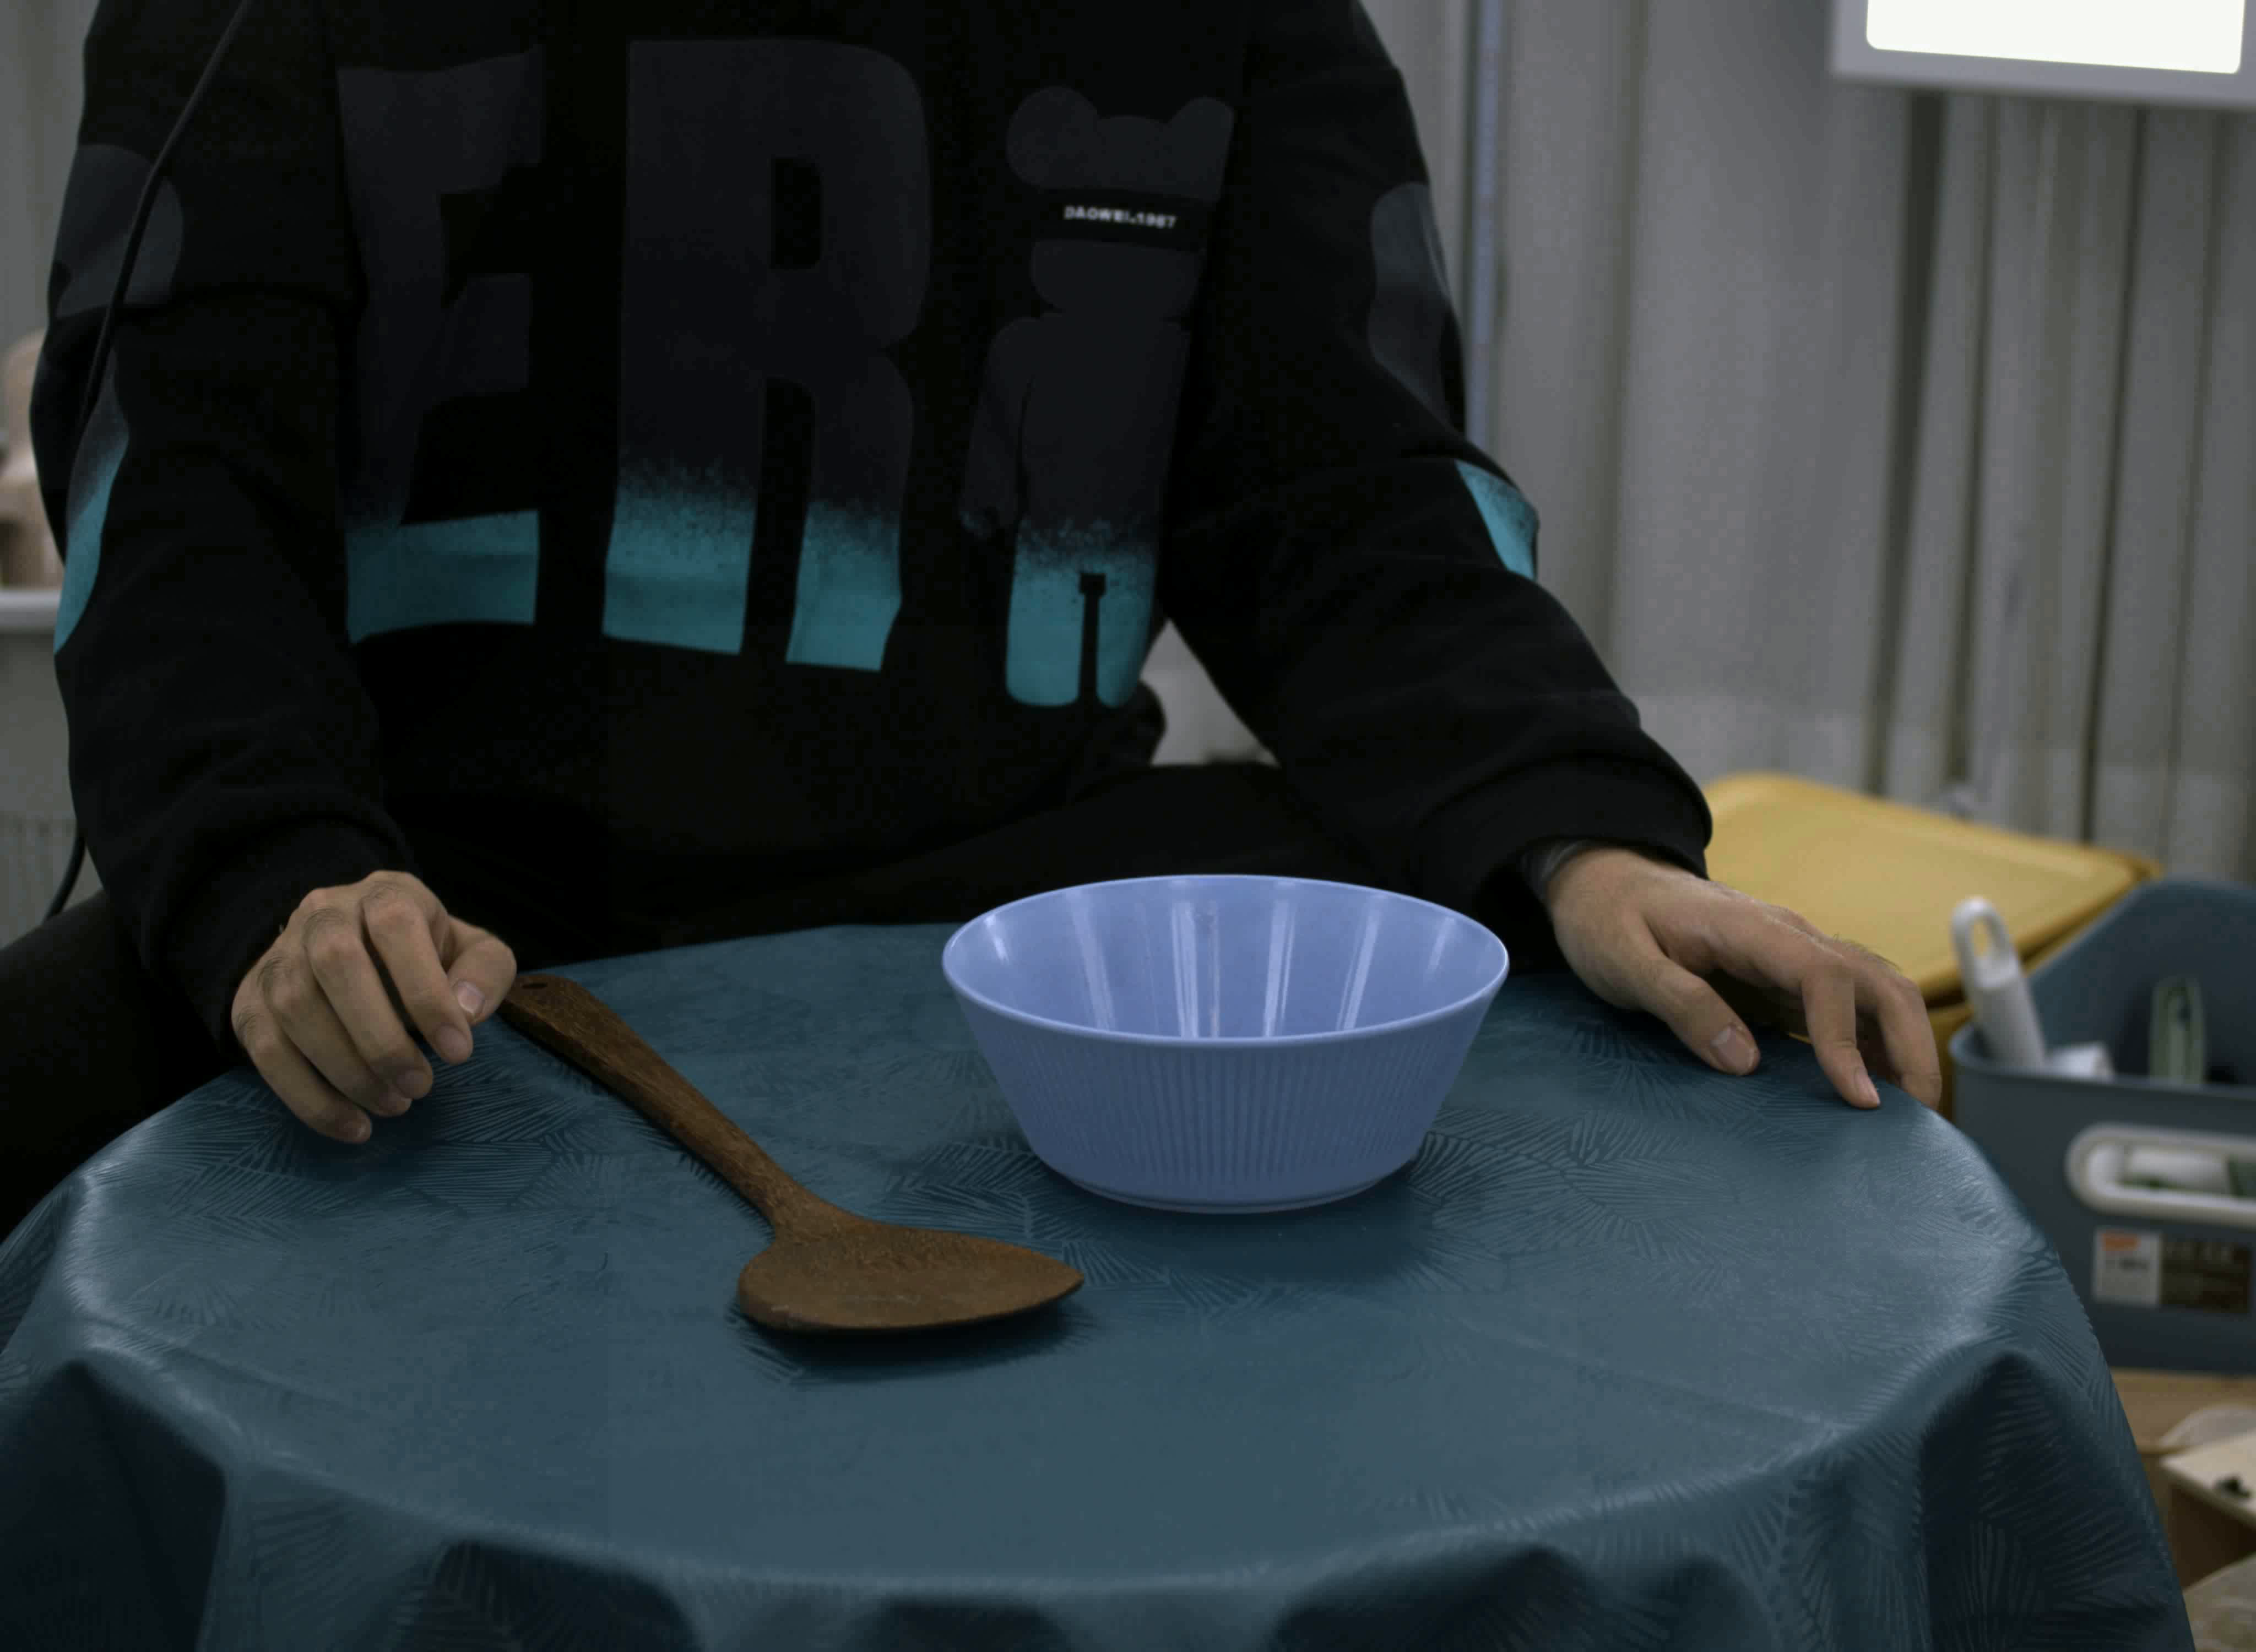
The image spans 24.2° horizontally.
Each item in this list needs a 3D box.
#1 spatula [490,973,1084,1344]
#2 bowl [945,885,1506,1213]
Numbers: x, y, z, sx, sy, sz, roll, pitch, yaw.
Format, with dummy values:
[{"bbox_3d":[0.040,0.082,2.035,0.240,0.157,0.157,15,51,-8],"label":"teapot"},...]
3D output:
[{"bbox_3d":[-0.129,0.098,1.648,0.096,0.016,0.381,-7,17,-25],"label":"spatula"},{"bbox_3d":[0.030,0.072,1.645,0.175,0.071,0.175,0,15,0],"label":"bowl"}]
